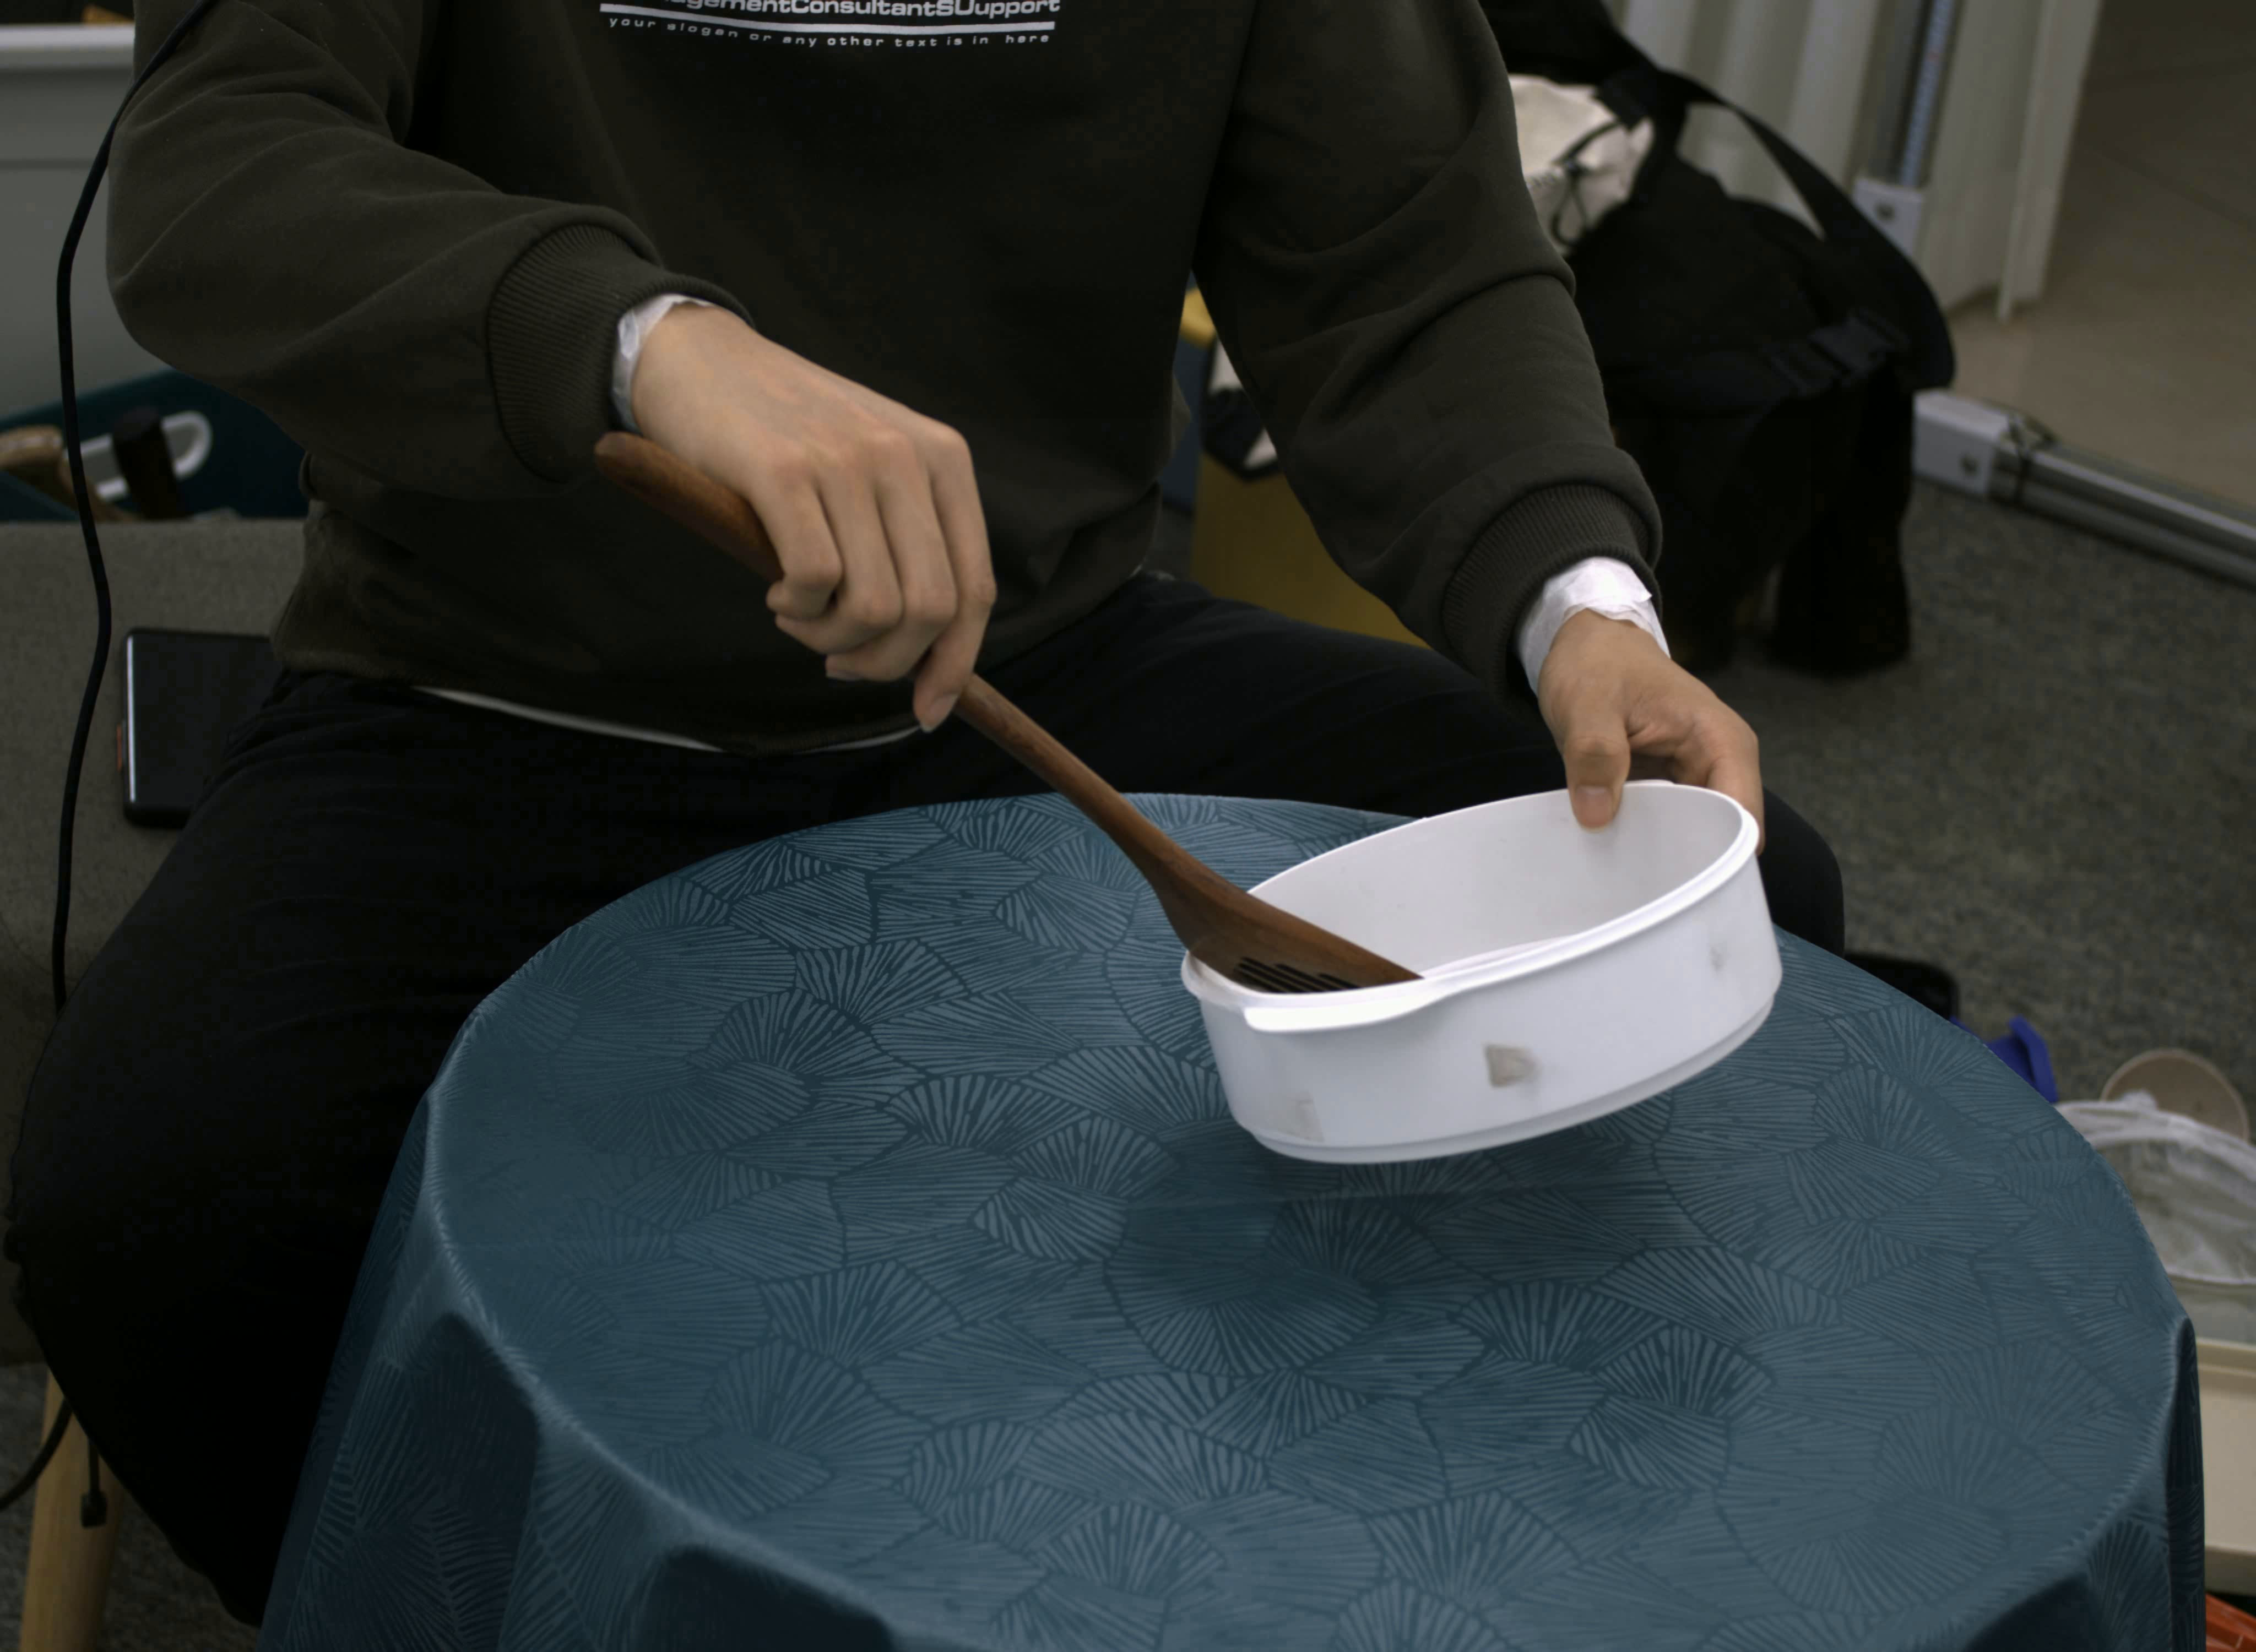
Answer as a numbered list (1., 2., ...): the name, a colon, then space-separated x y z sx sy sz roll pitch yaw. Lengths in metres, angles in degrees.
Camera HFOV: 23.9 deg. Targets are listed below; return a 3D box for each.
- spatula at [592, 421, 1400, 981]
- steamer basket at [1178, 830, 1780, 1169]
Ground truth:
1. spatula: -0.029 -0.021 1.725 0.382 0.024 0.086 38 -23 -30
2. steamer basket: 0.121 0.059 1.797 0.202 0.069 0.230 -6 12 33
